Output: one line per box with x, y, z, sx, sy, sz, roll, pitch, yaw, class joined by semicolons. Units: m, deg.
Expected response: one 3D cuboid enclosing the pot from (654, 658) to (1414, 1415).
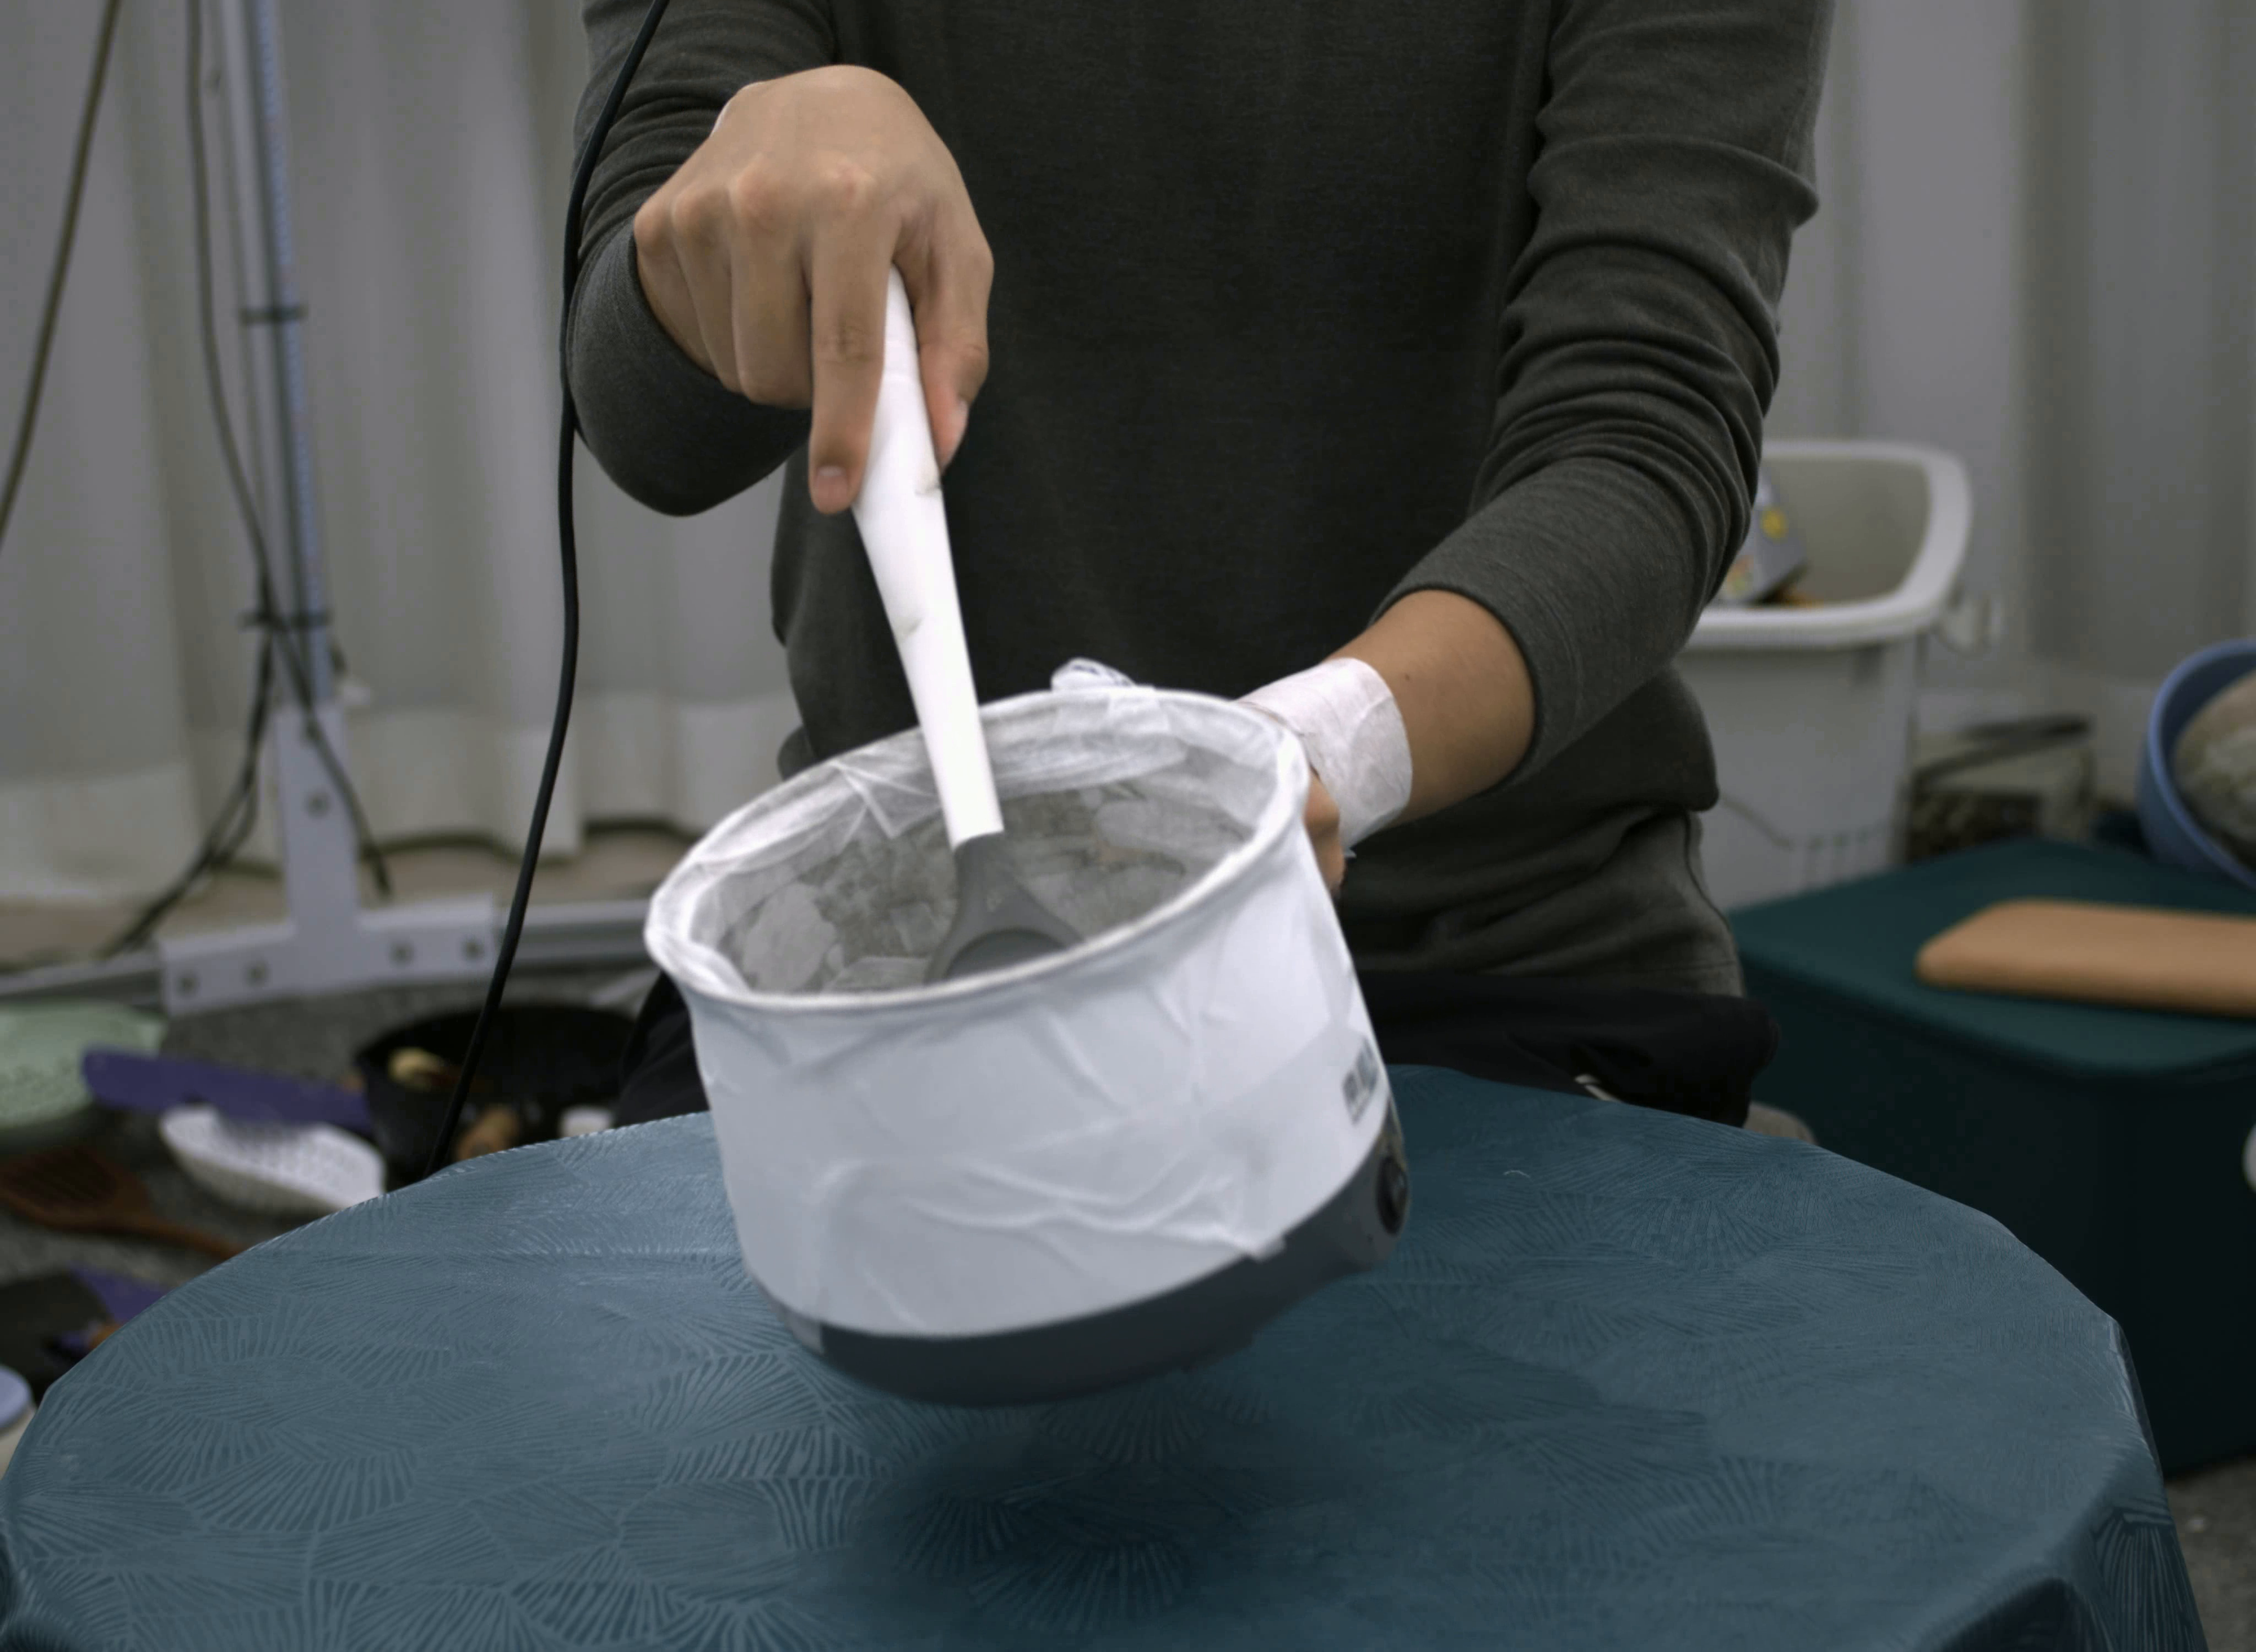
-0.016;0.048;1.463;0.178;0.135;0.236;-6;25;19;pot

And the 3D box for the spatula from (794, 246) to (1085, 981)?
-0.049;-0.031;1.483;0.058;0.292;0.032;-12;-28;-2;spatula
